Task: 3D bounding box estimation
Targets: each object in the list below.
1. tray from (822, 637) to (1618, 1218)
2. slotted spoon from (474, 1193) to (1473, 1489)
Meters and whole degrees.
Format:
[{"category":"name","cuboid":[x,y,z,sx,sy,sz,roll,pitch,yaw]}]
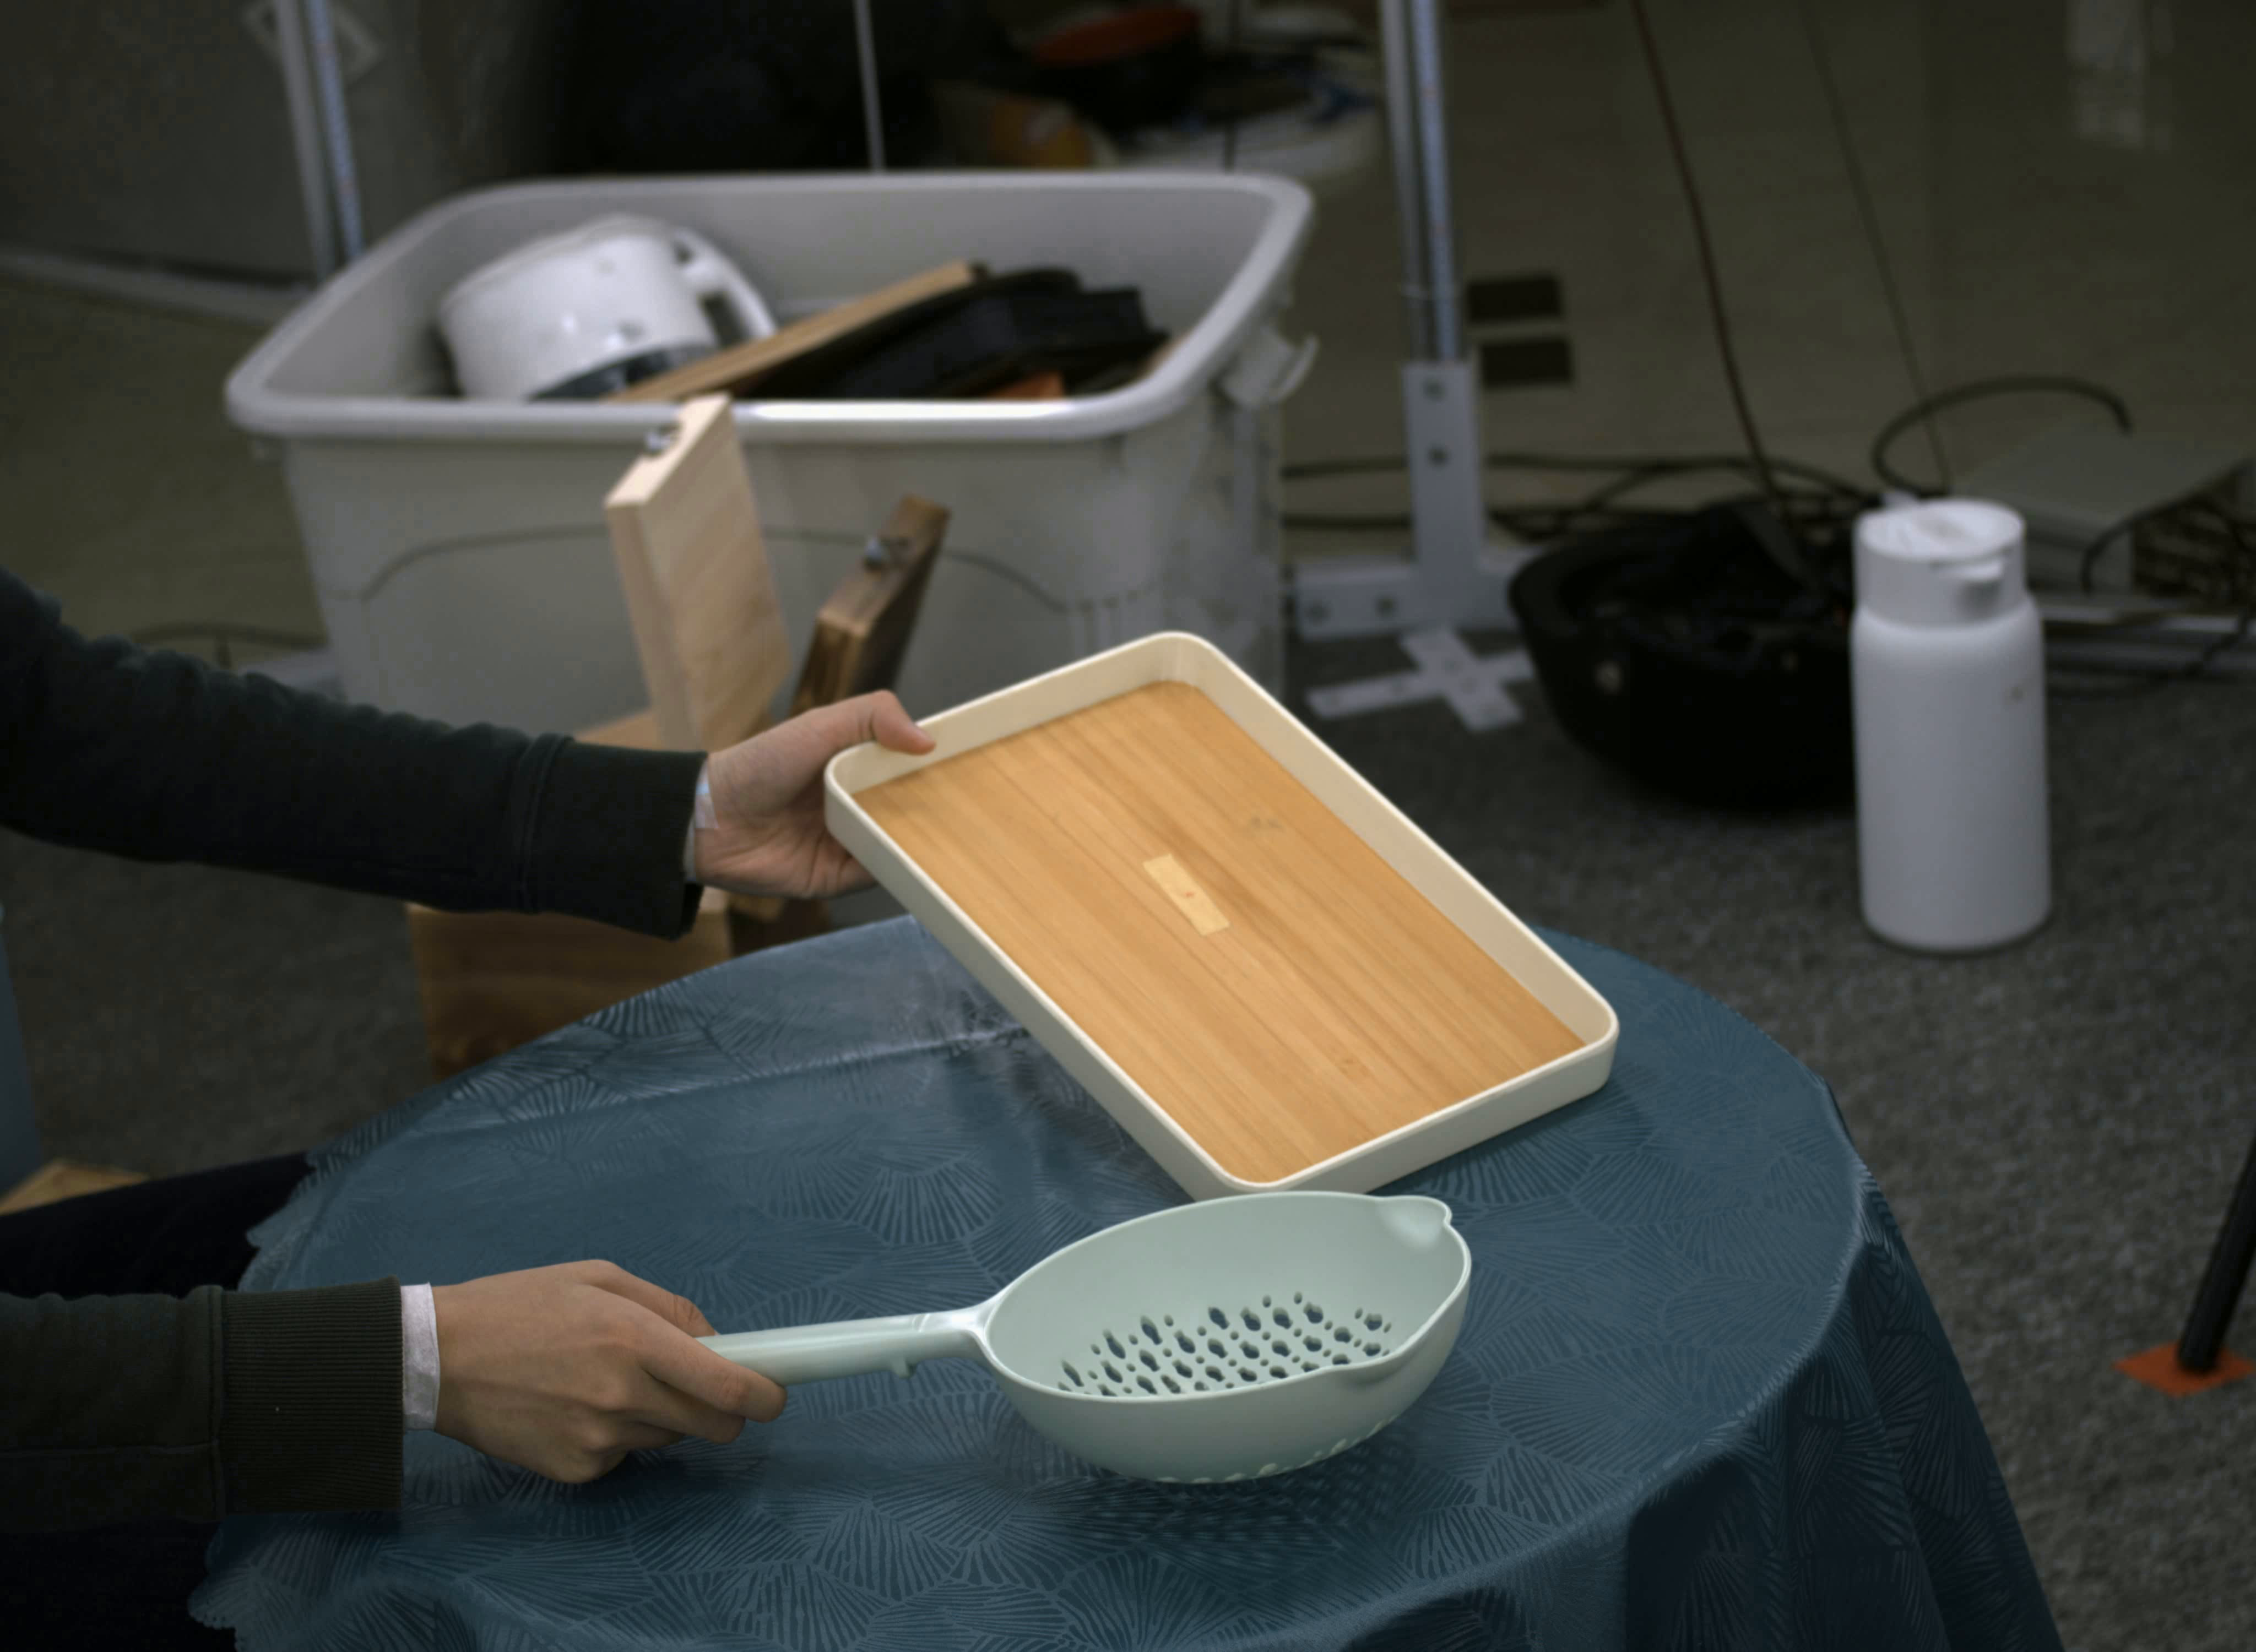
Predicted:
[{"category":"tray","cuboid":[0.032,0.038,2.227,0.190,0.028,0.296,-21,46,-29]},{"category":"slotted spoon","cuboid":[-0.058,0.184,1.978,0.358,0.076,0.167,1,20,10]}]
